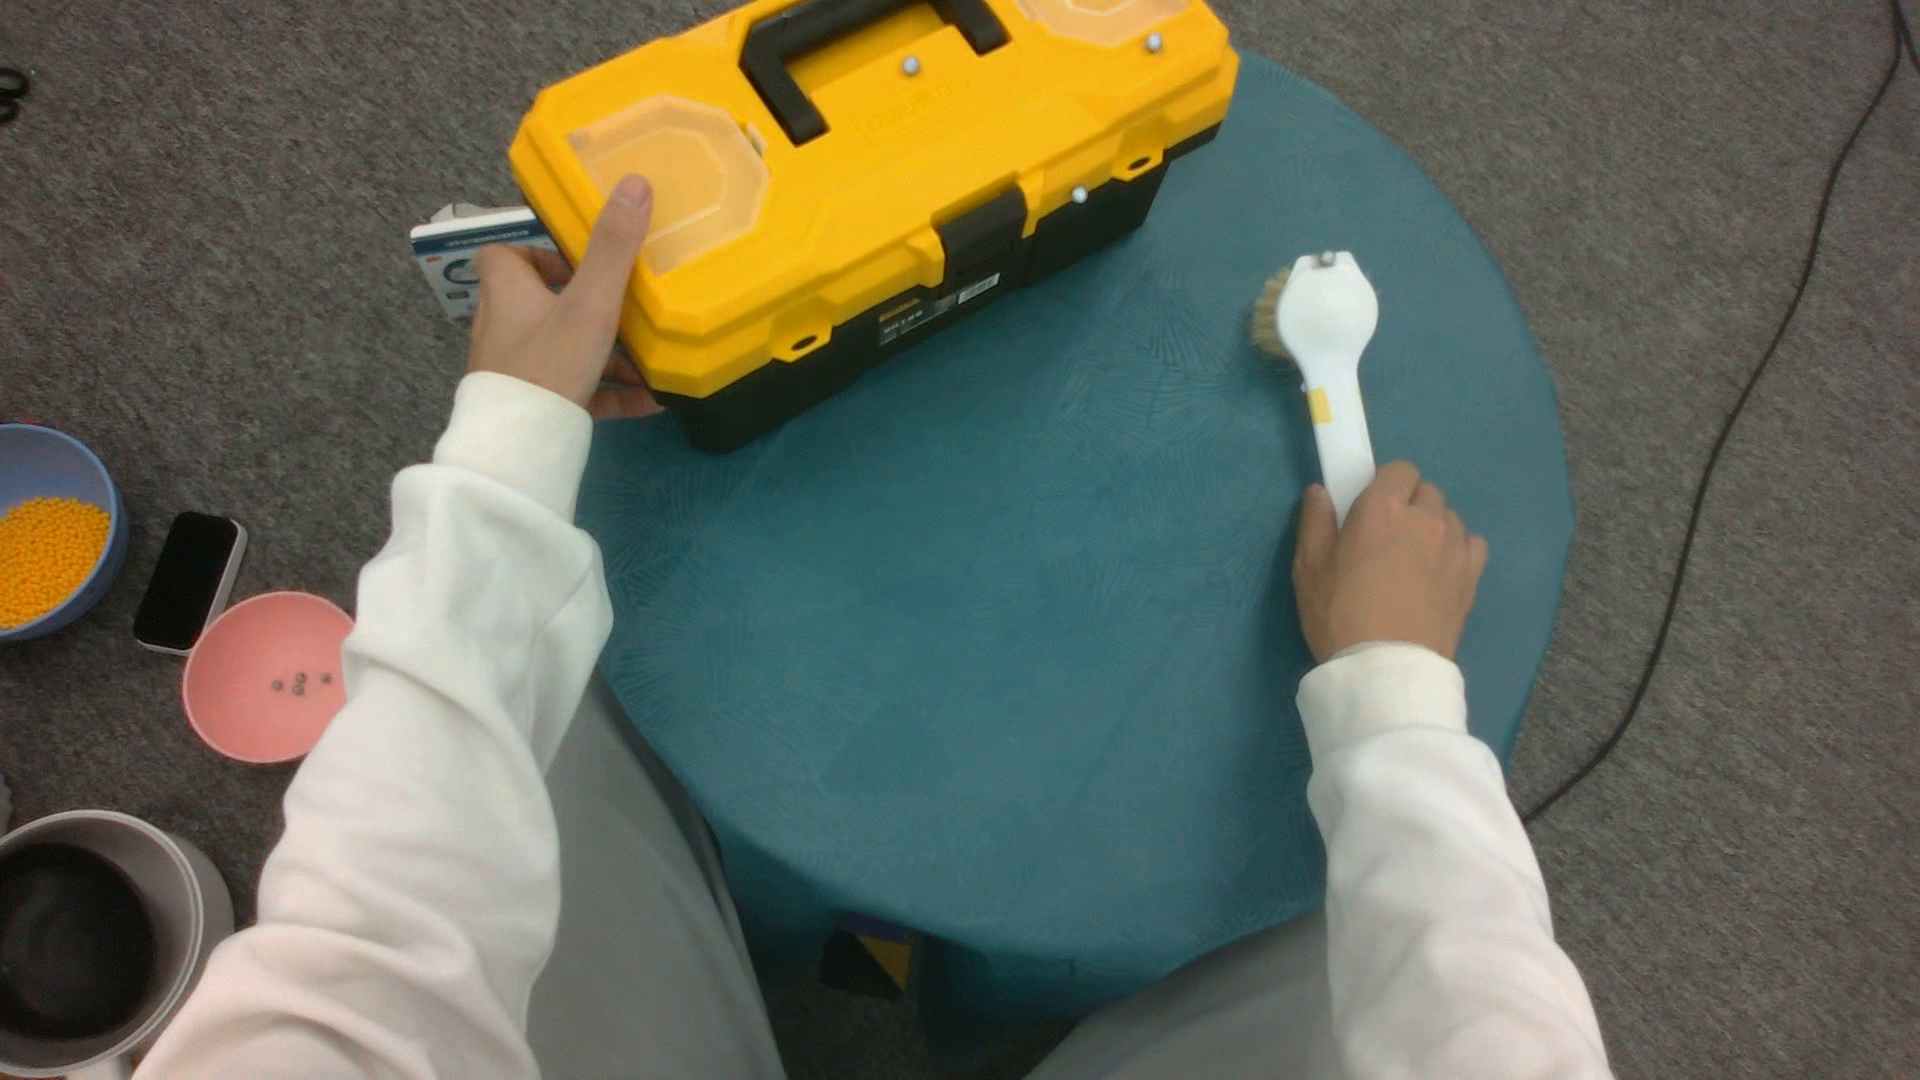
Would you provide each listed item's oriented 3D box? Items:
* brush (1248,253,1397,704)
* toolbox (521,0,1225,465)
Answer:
[{"bbox_3d":[0.219,-0.038,0.809,0.068,0.056,0.266,-9,86,11],"label":"brush"},{"bbox_3d":[-0.040,-0.195,0.760,0.352,0.172,0.181,-32,75,-14],"label":"toolbox"}]
